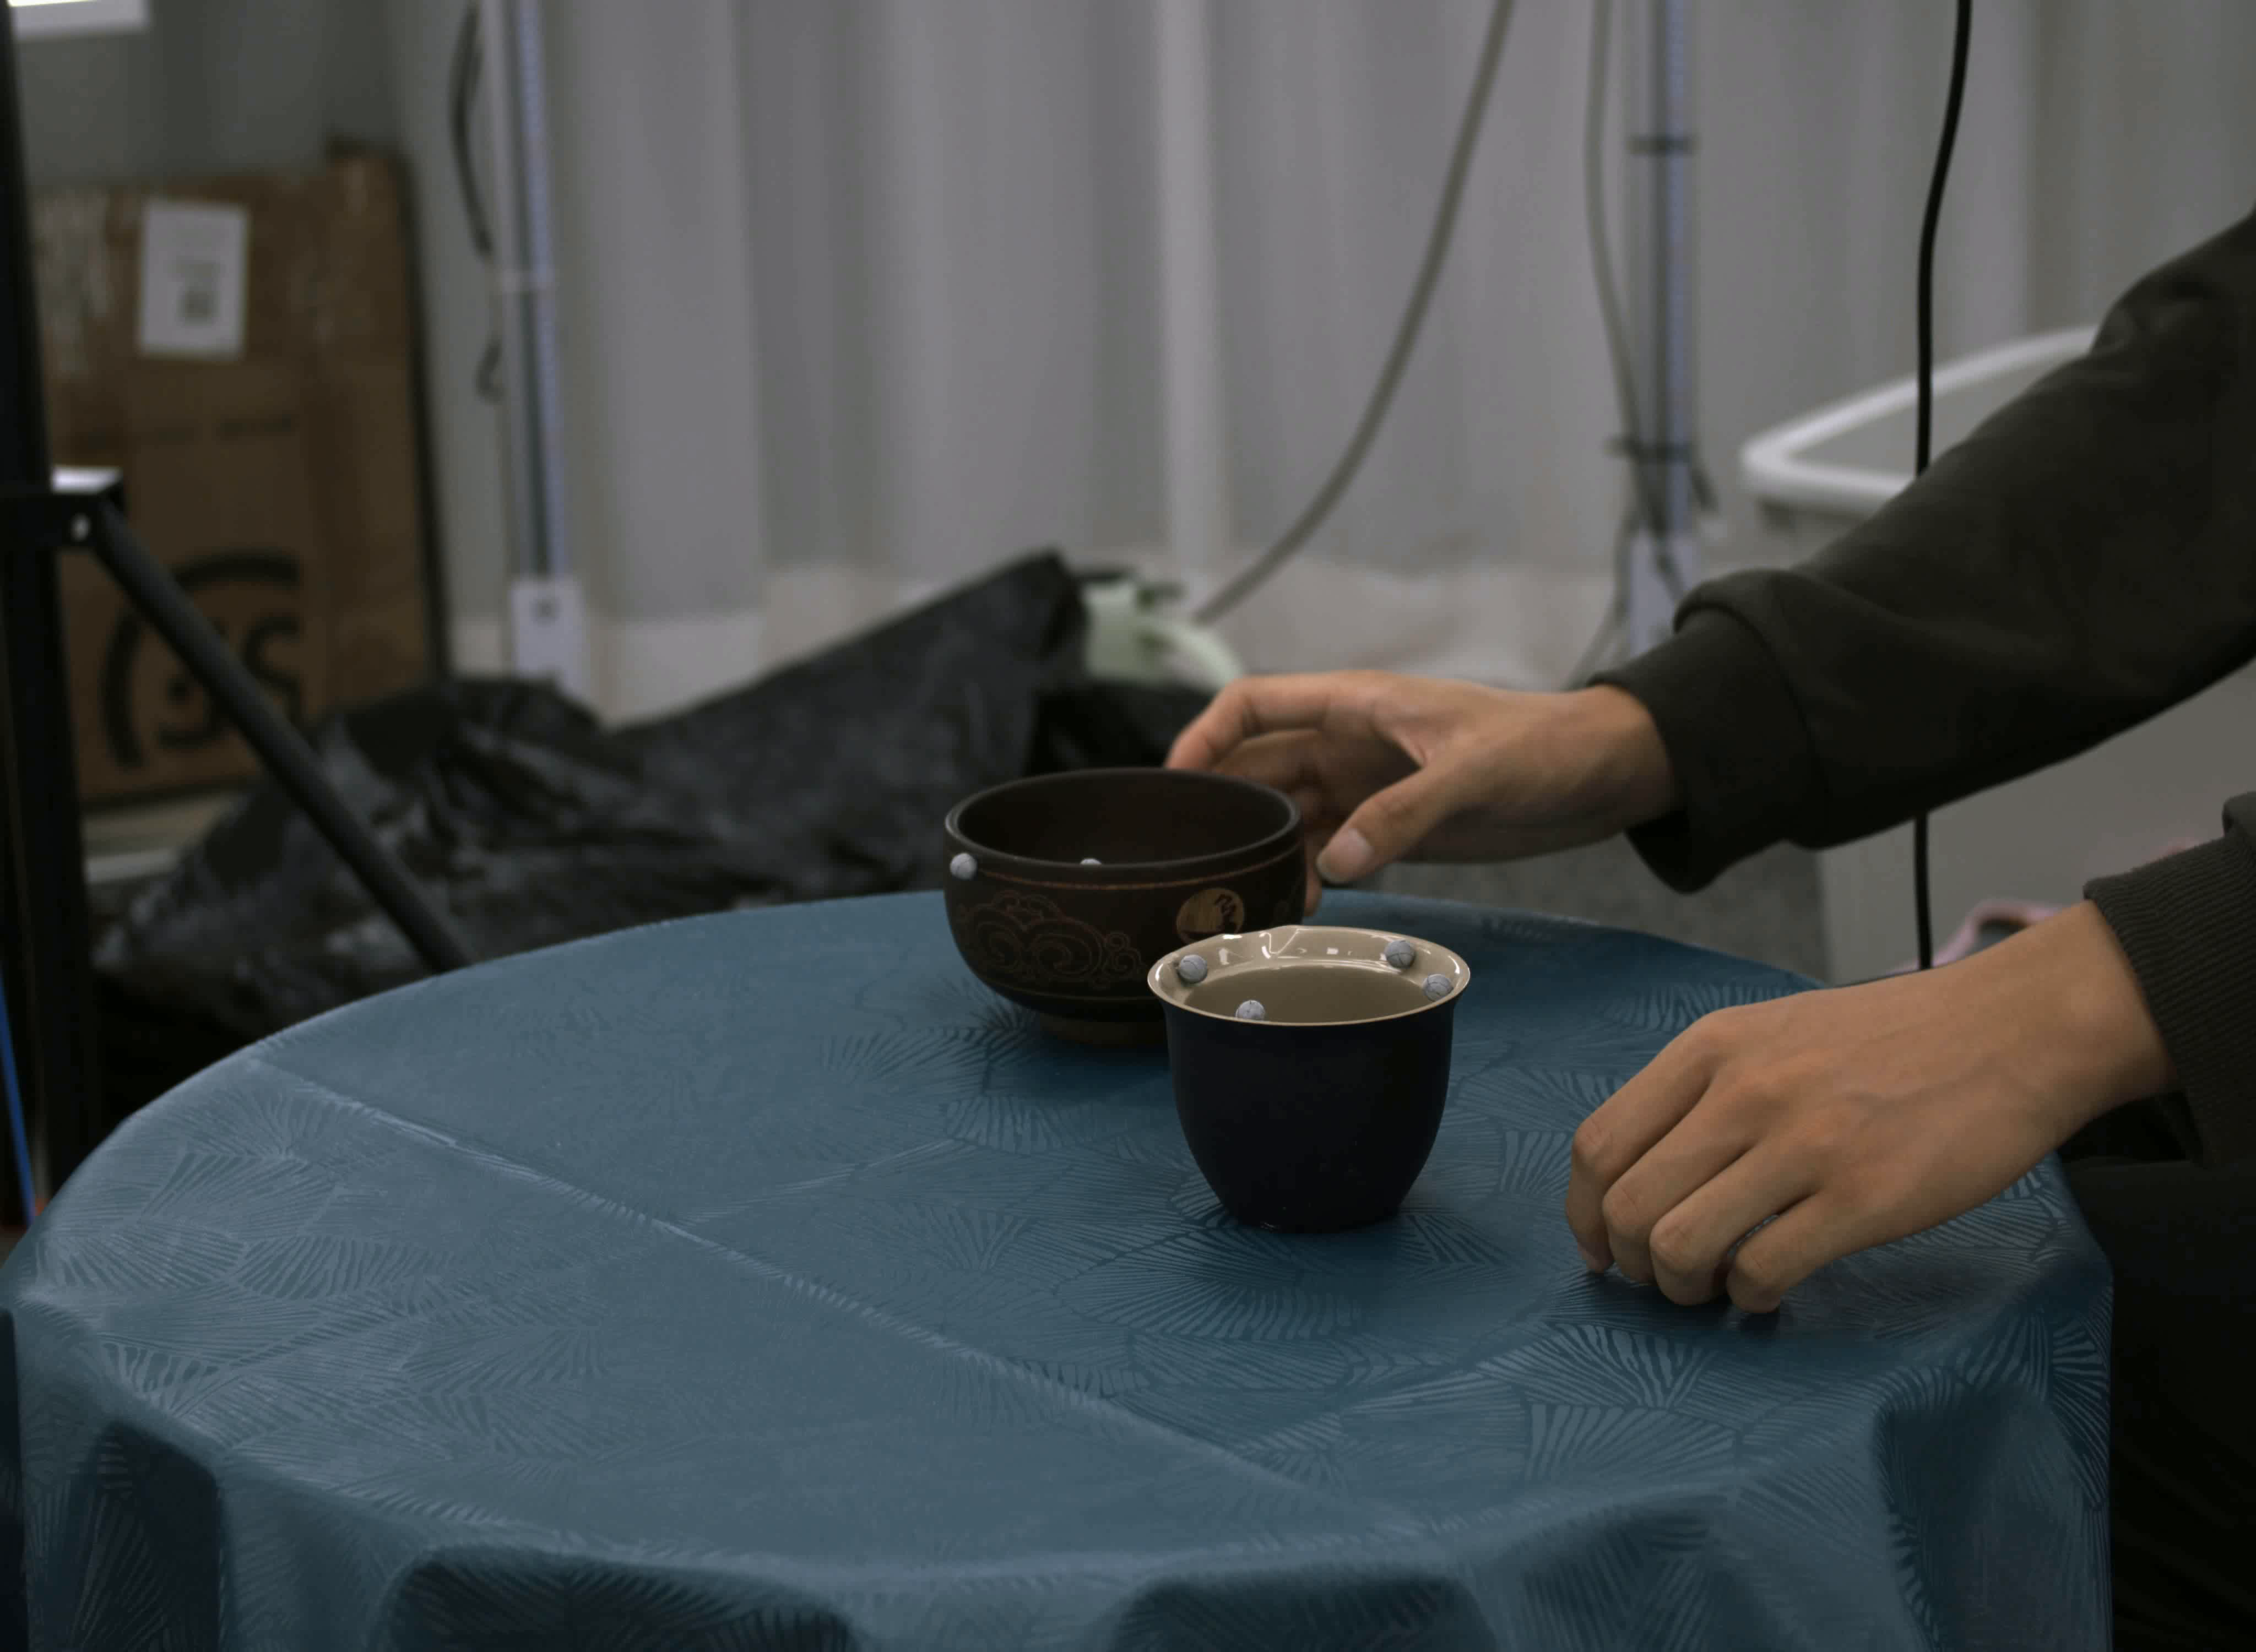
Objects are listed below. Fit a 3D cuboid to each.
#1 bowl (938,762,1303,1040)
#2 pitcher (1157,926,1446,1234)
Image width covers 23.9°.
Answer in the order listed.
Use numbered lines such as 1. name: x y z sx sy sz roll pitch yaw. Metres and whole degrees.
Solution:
1. bowl: -0.002 0.027 1.709 0.117 0.070 0.118 -1 16 -1
2. pitcher: 0.051 0.075 1.535 0.083 0.071 0.097 -7 15 -8
